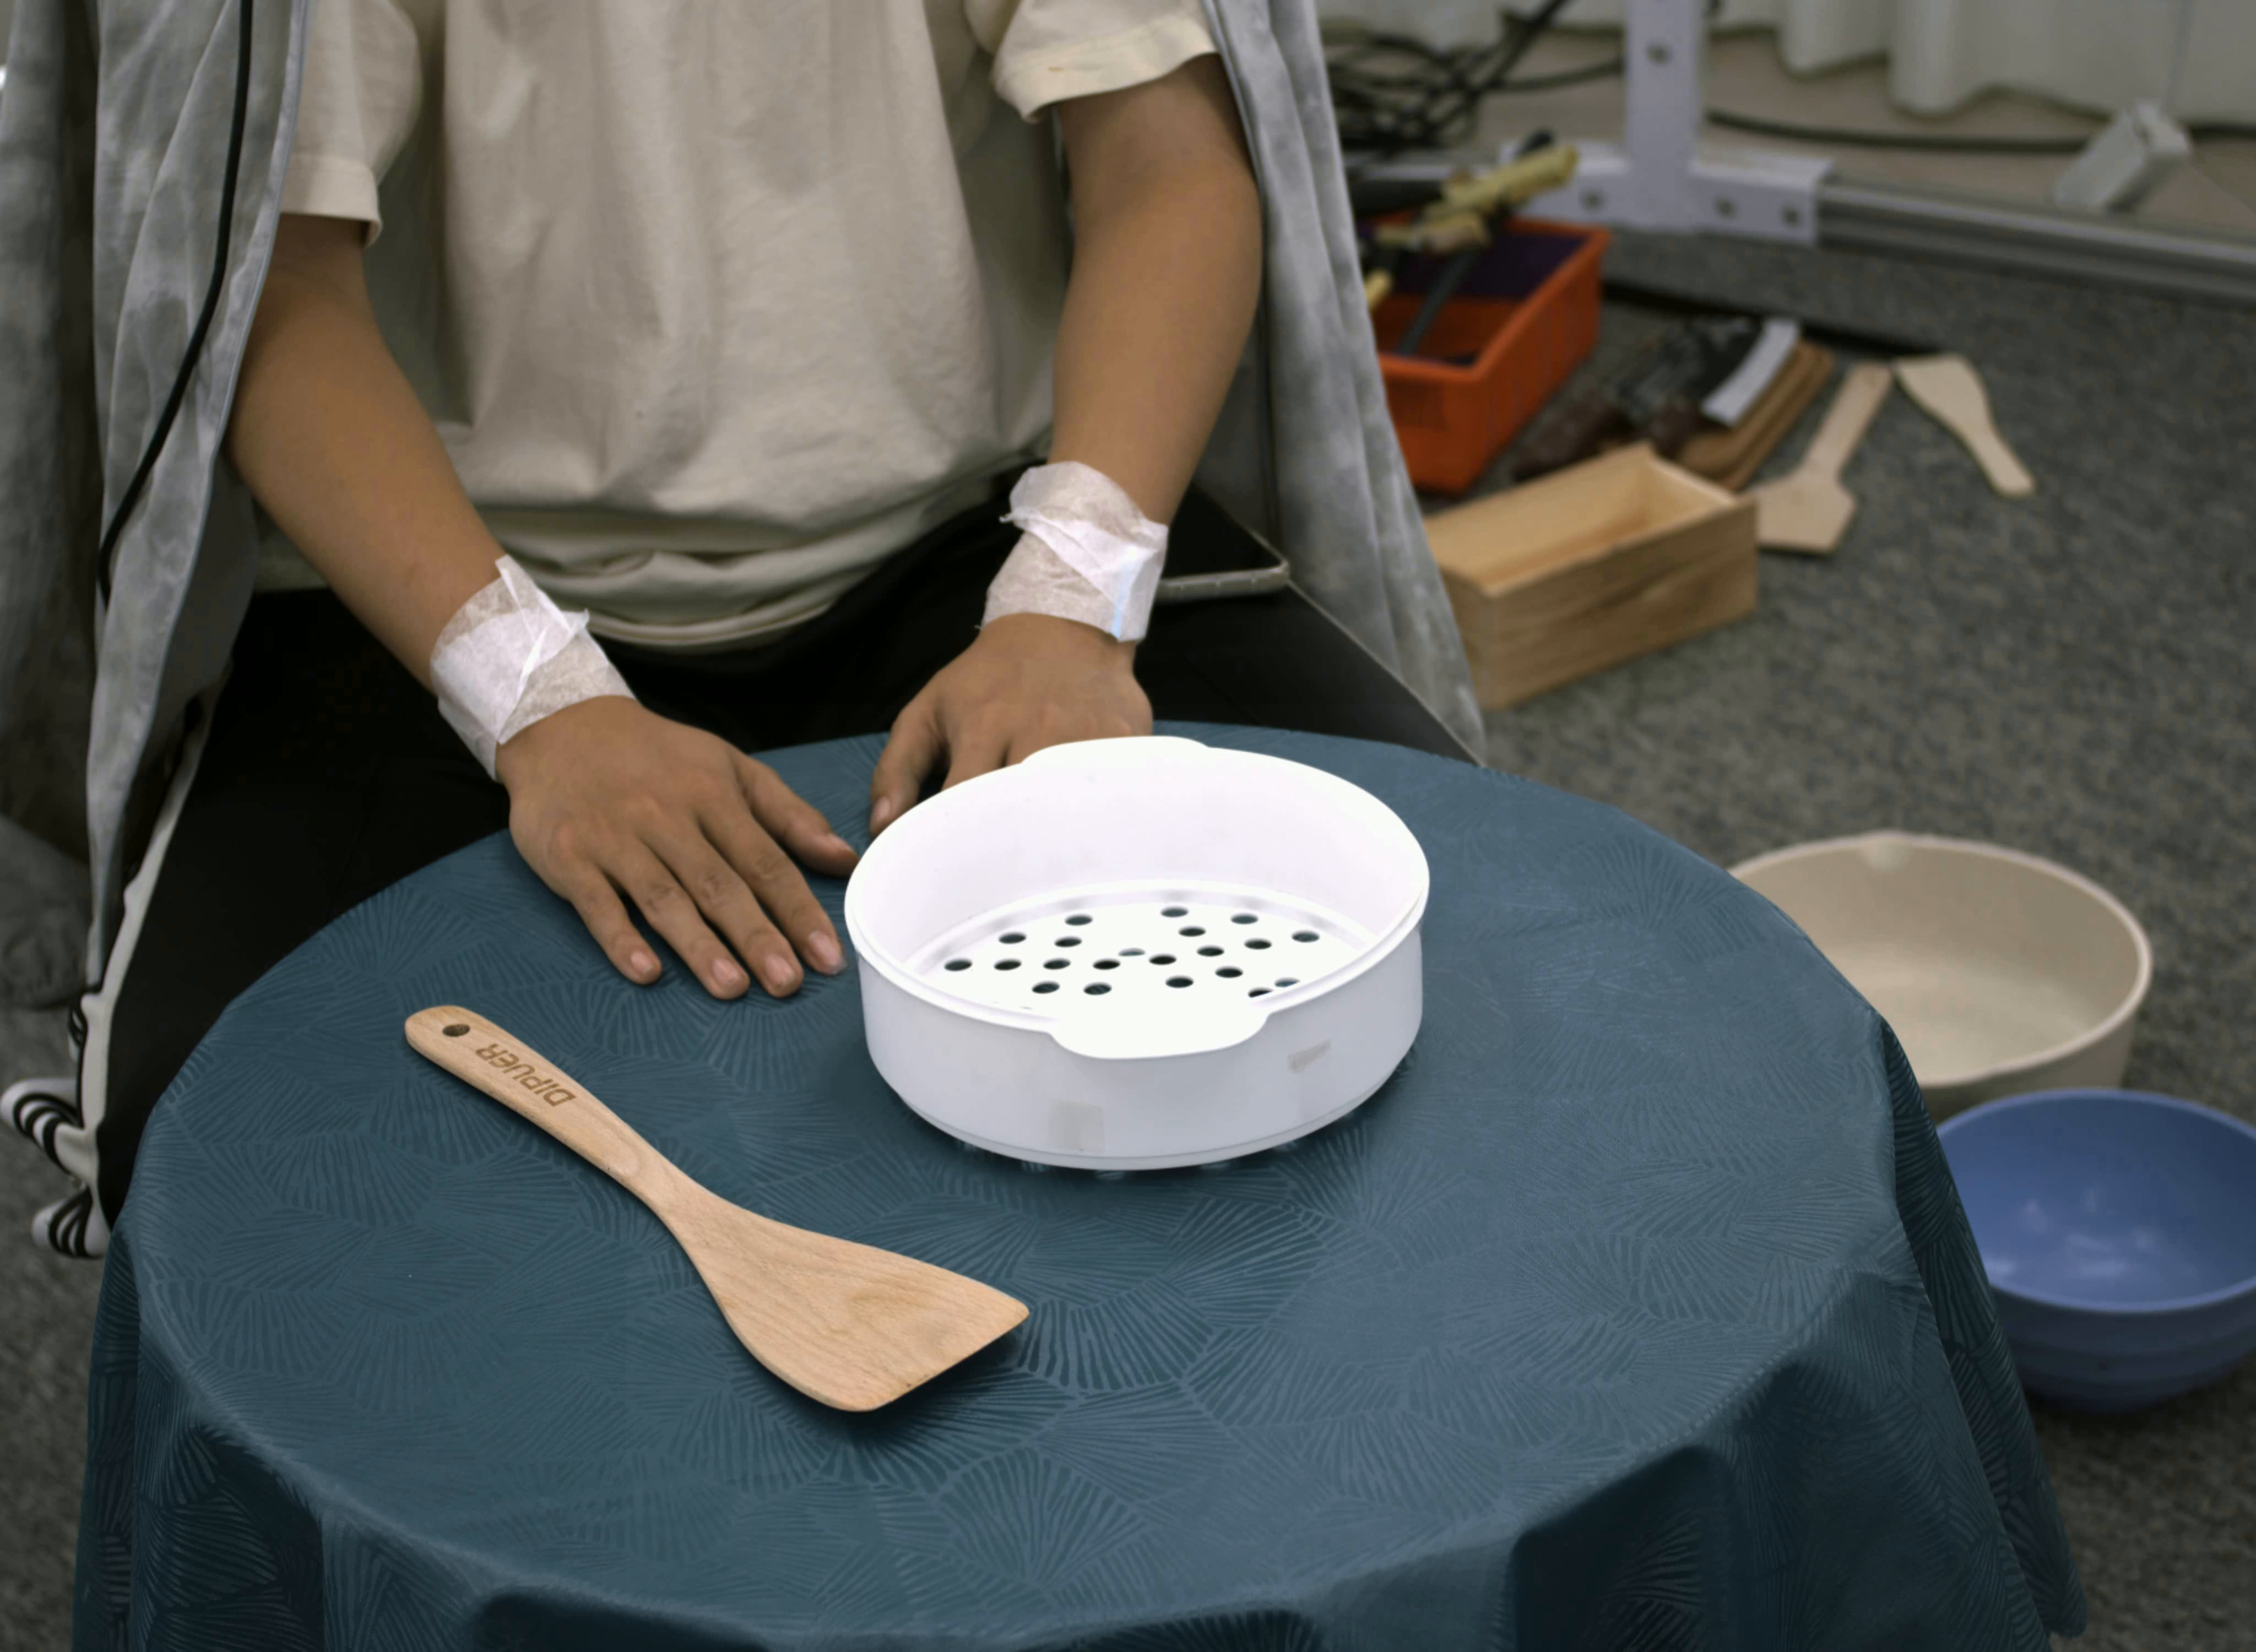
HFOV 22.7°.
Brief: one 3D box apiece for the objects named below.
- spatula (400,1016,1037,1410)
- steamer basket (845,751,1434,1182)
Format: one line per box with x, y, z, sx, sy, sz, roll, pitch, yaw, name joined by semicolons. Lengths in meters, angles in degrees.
-0.149;0.120;1.858;0.080;0.016;0.328;-21;32;-33;spatula
0.005;0.049;1.929;0.201;0.068;0.234;-3;26;-3;steamer basket
